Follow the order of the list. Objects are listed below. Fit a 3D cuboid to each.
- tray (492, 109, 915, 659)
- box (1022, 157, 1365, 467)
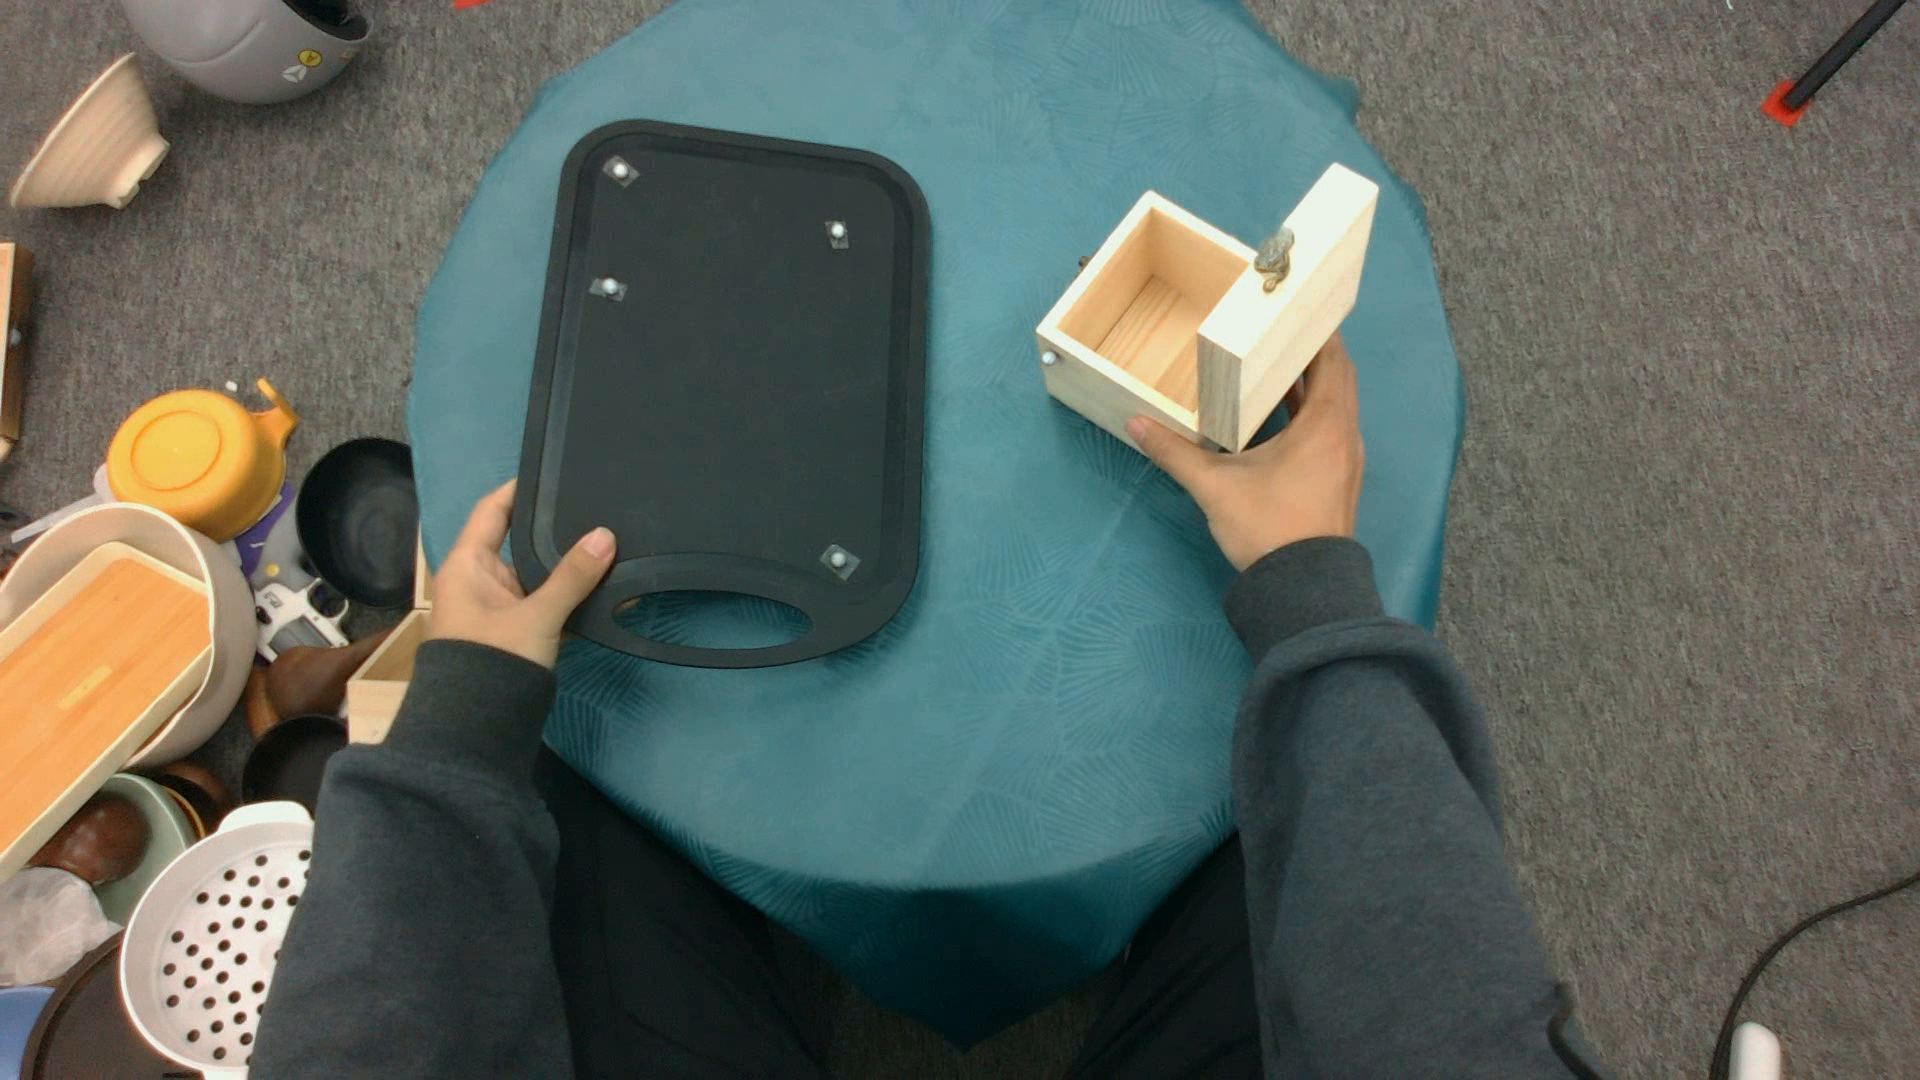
[{"bbox_3d":[-0.131,-0.093,0.748,0.211,0.010,0.326,5,68,-10],"label":"tray"},{"bbox_3d":[0.107,-0.126,0.690,0.134,0.184,0.103,34,79,15],"label":"box"}]
